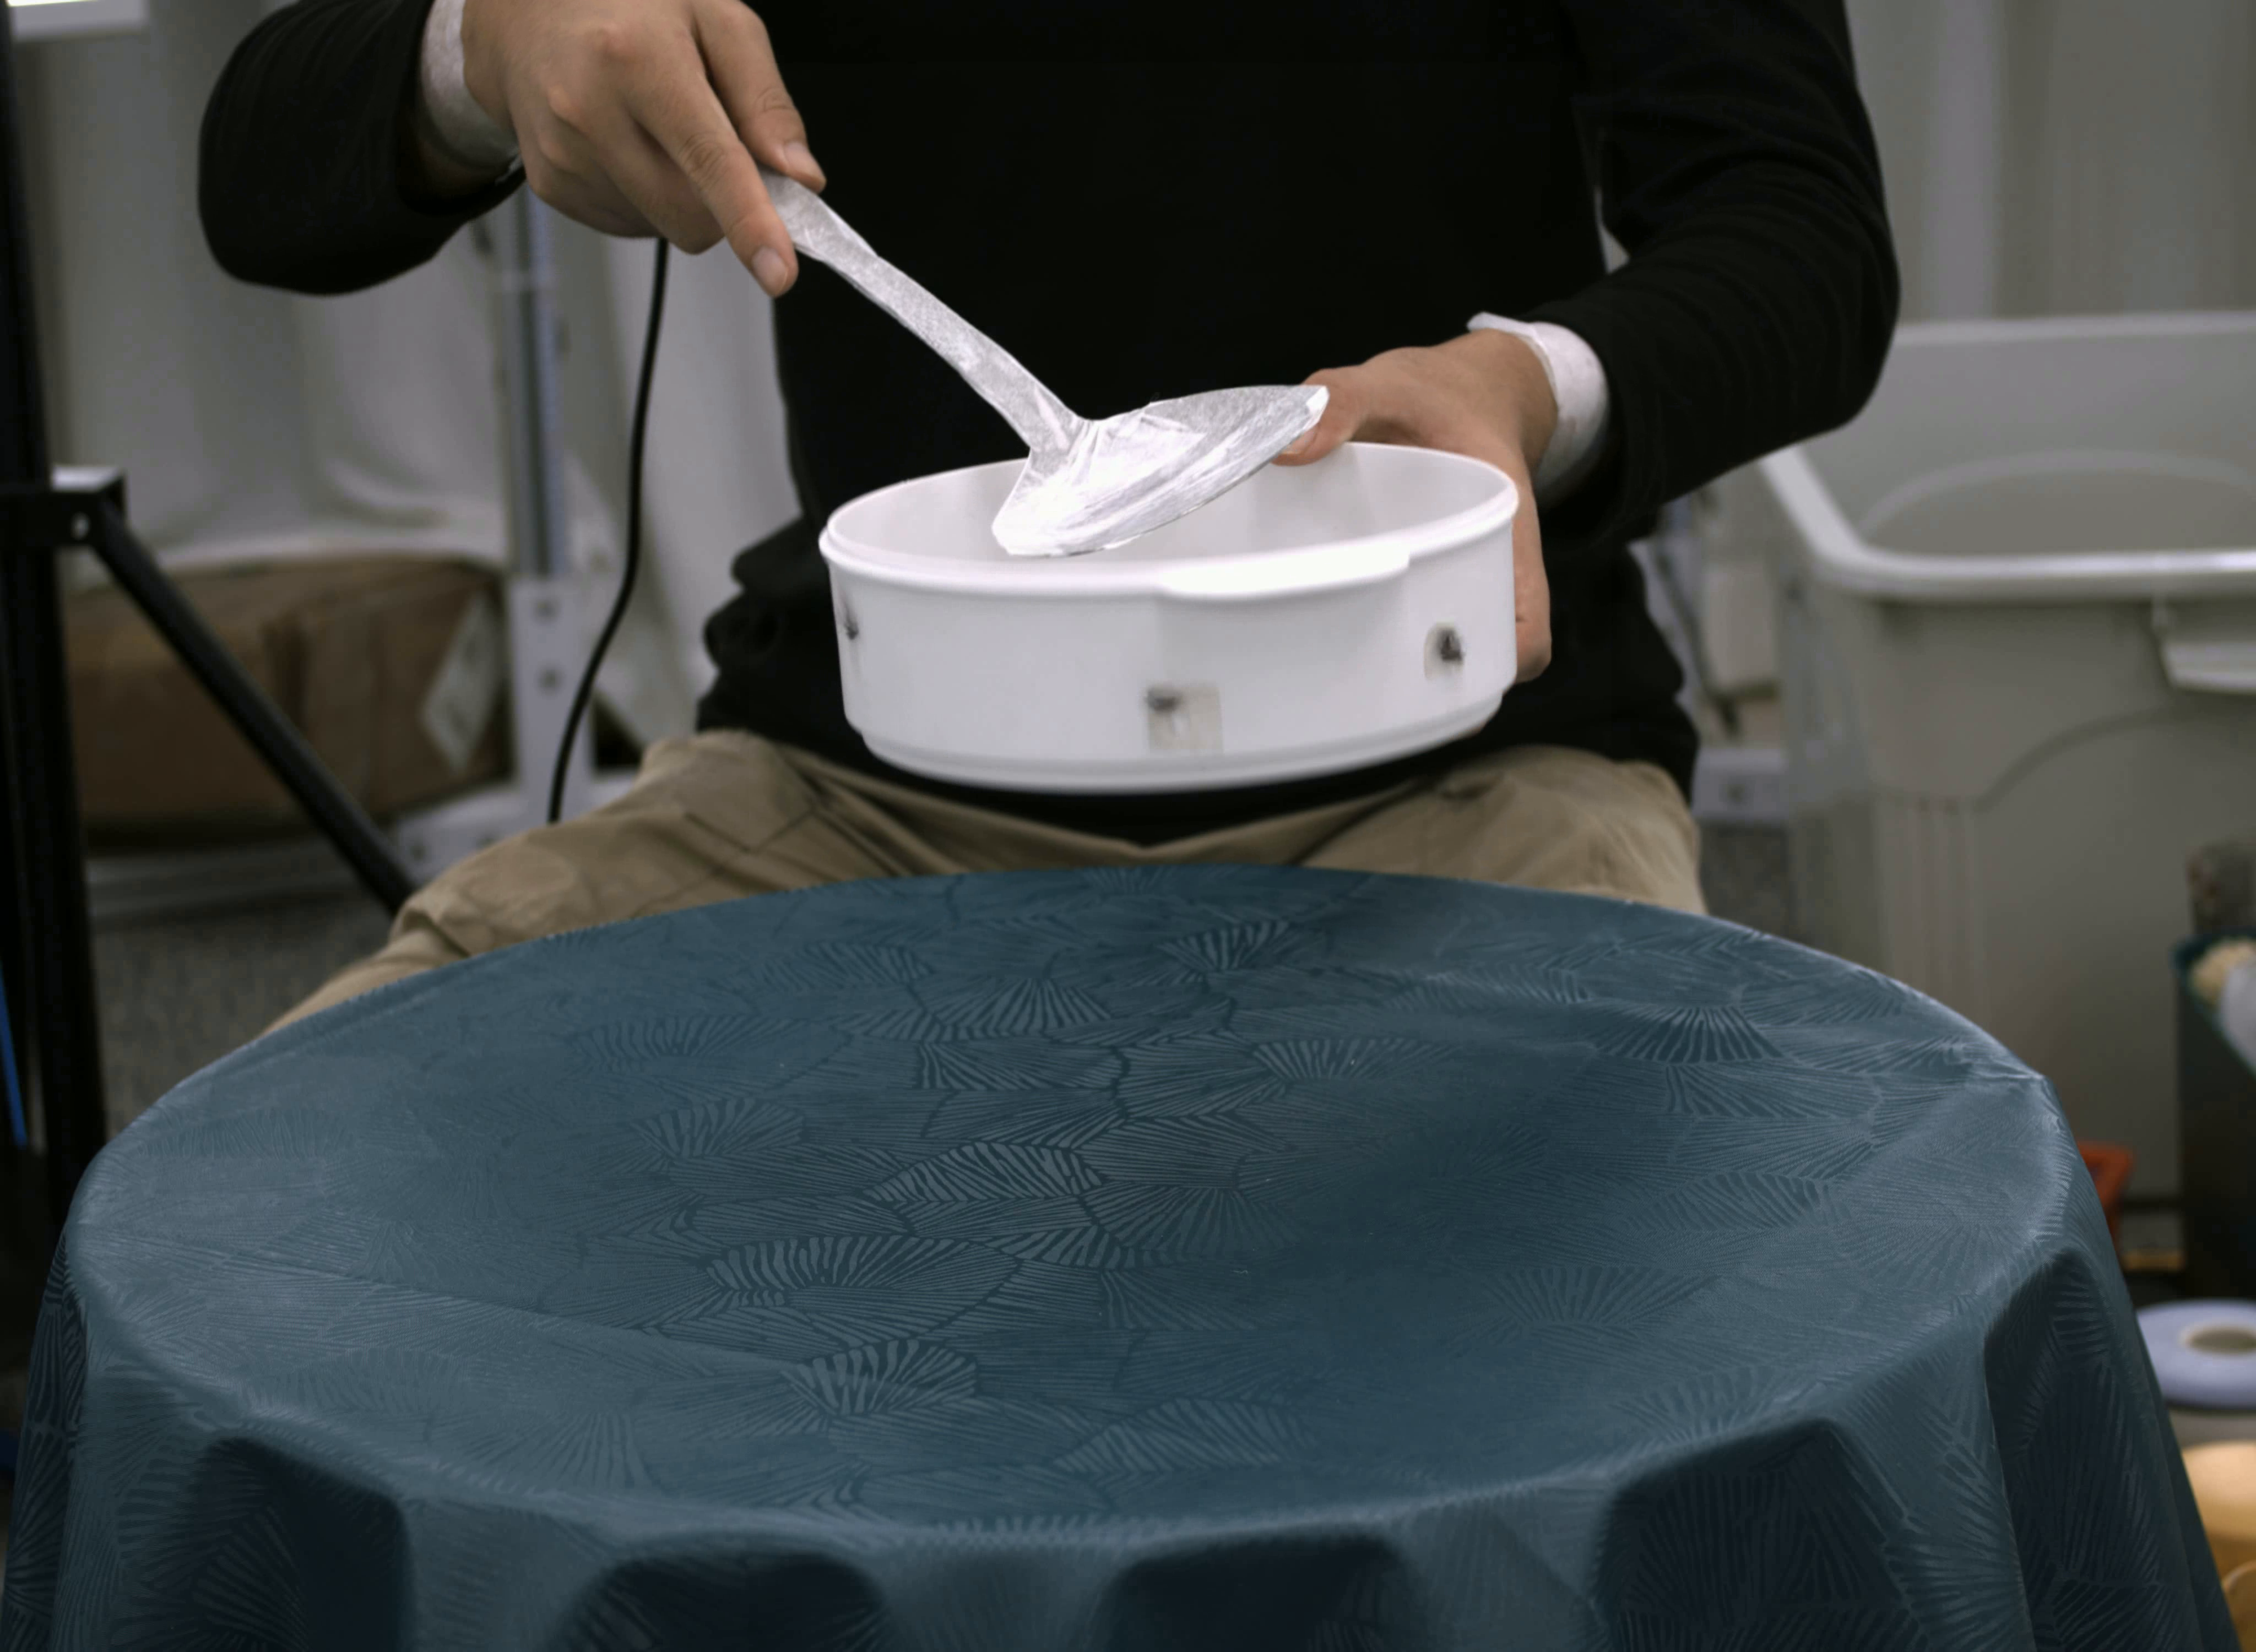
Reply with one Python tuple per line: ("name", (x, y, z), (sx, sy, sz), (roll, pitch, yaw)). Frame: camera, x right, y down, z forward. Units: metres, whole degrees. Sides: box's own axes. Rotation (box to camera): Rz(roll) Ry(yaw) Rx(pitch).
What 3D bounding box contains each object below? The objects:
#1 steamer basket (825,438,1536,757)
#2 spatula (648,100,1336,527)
("steamer basket", (0.016, -0.065, 1.508), (0.198, 0.069, 0.234), (-6, 11, -15))
("spatula", (-0.065, -0.162, 1.603), (0.098, 0.044, 0.373), (-34, 42, -15))
